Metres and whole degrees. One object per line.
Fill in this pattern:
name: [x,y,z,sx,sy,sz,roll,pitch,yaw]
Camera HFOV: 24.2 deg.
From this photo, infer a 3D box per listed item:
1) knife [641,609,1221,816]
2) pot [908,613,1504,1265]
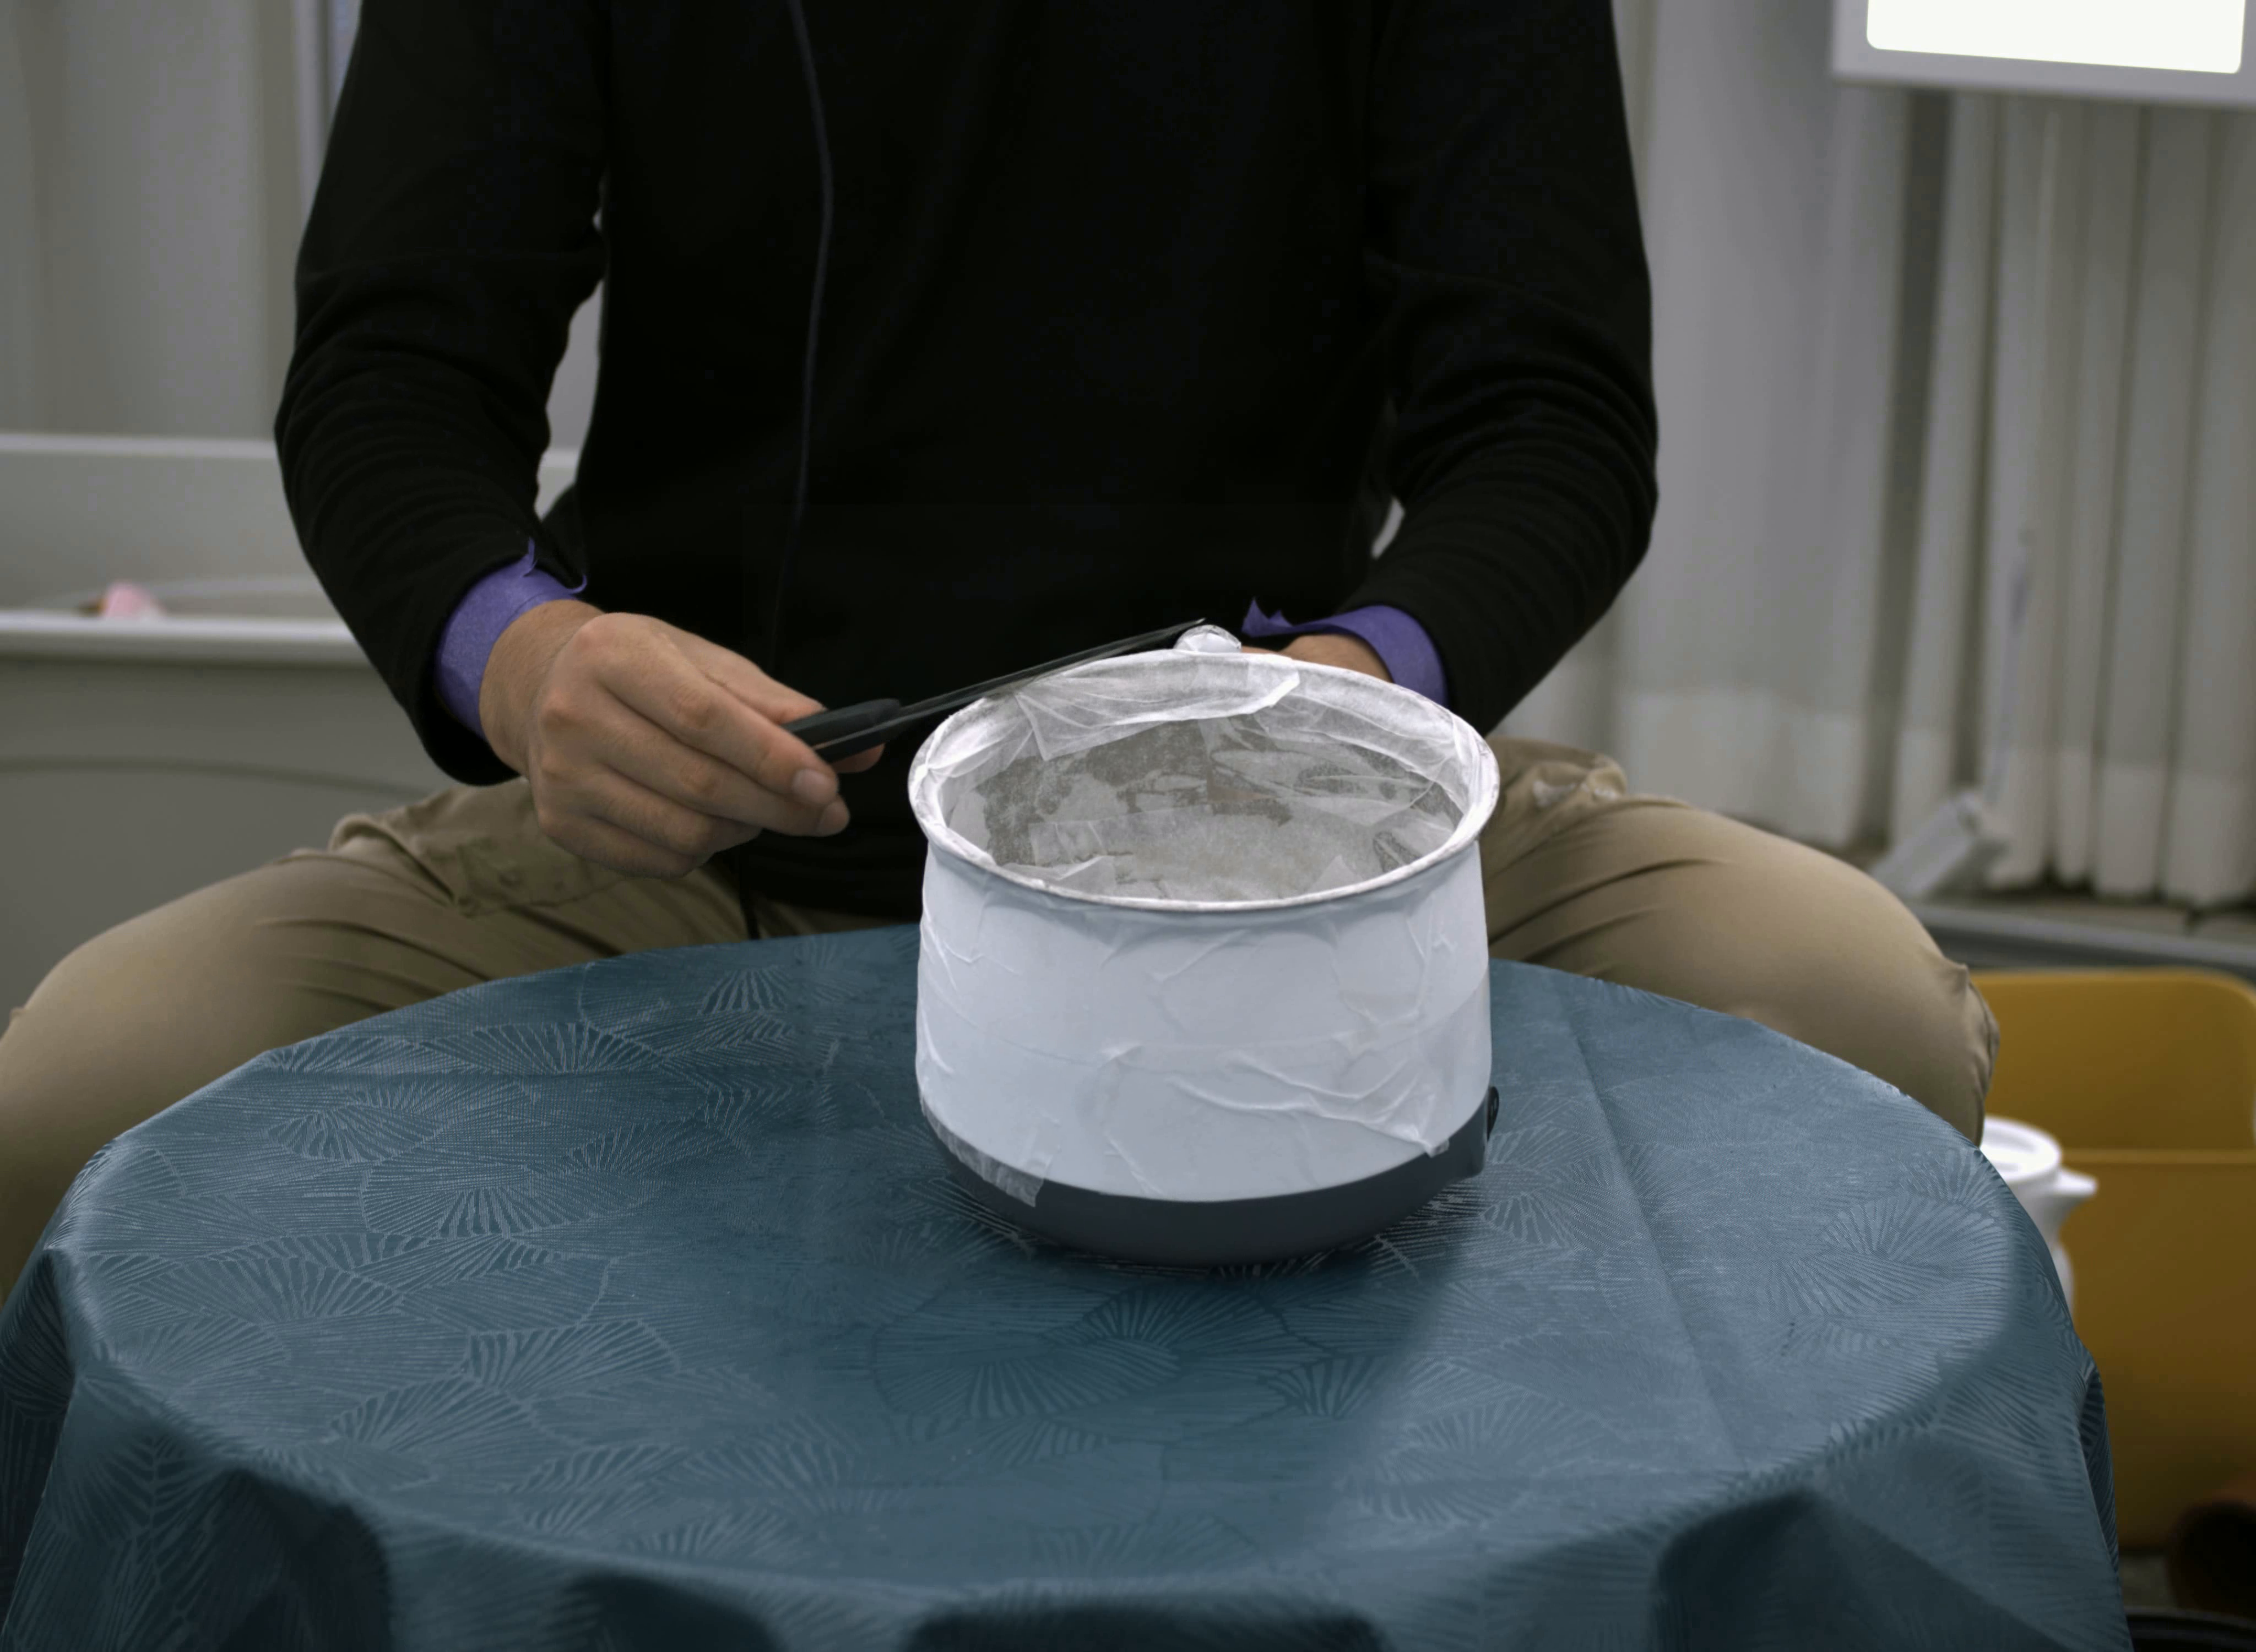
knife: [-0.066,-0.036,1.643,0.236,0.016,0.024,-16,11,36]
pot: [0.023,0.027,1.615,0.178,0.138,0.232,1,27,0]
